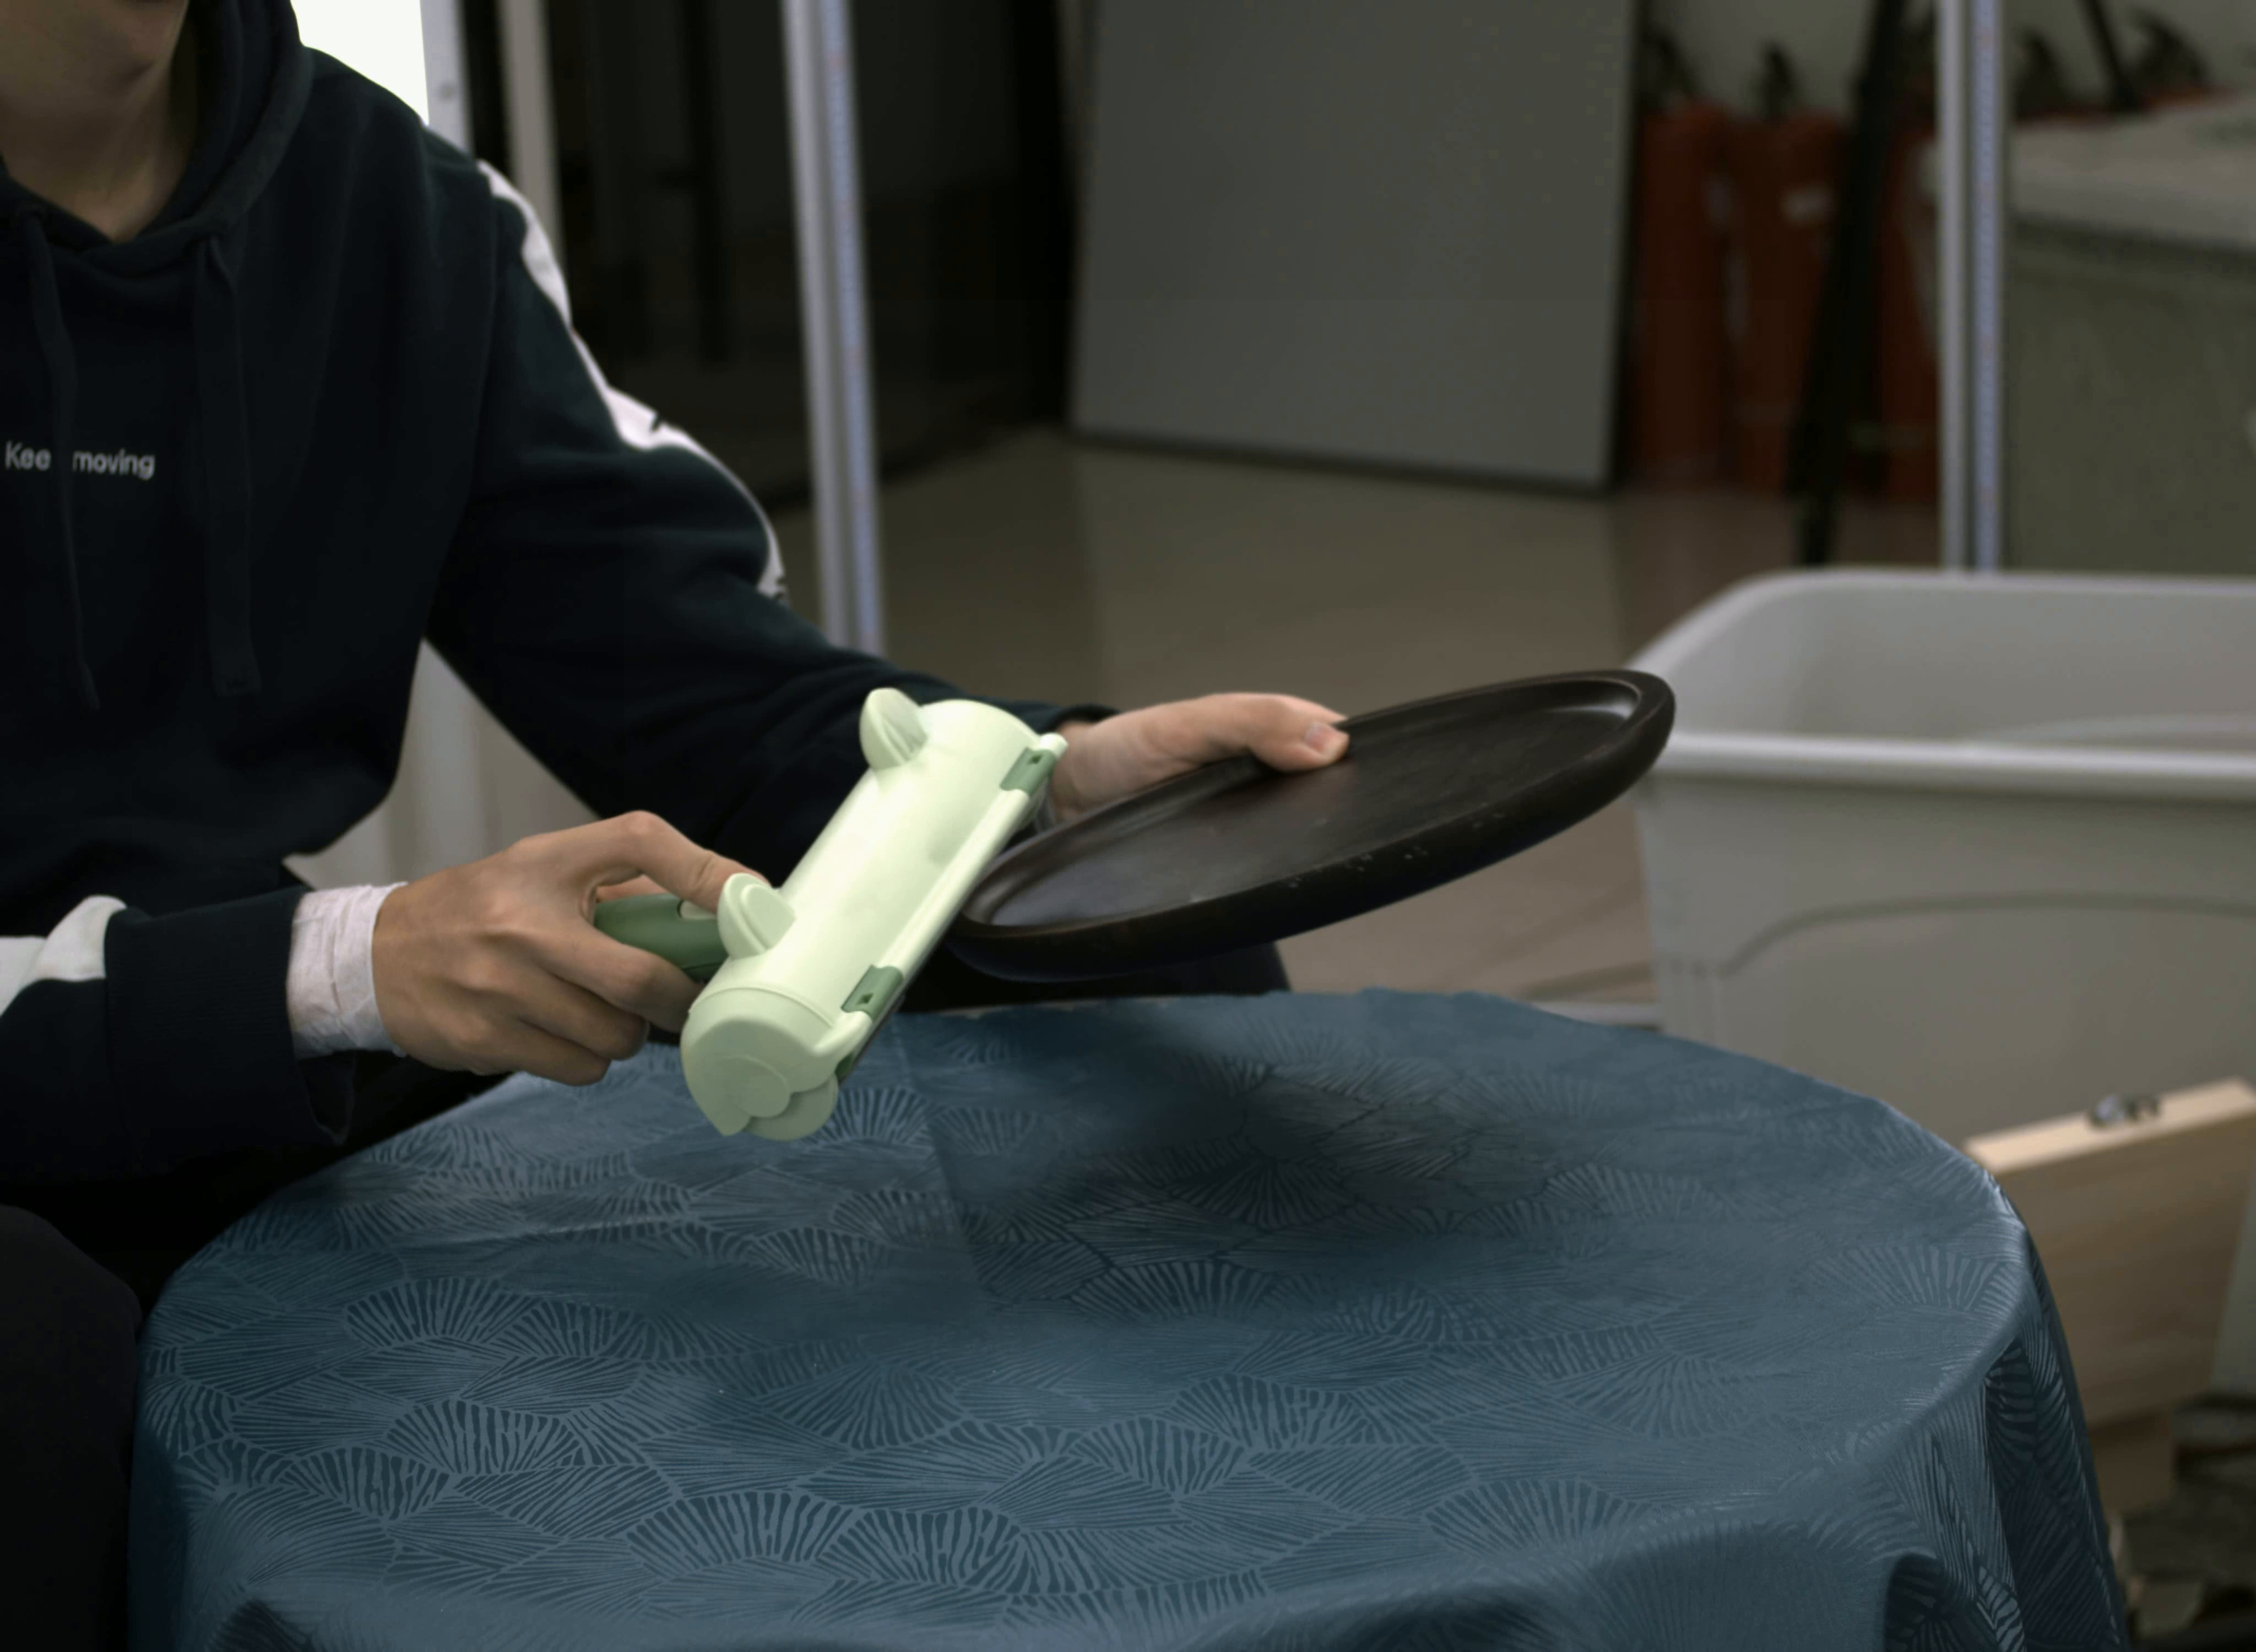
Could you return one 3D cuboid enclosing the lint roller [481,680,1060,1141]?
[{"bbox_3d":[-0.134,0.020,1.723,0.183,0.082,0.197,-1,30,24],"label":"lint roller"}]

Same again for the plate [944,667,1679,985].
[{"bbox_3d":[0.060,-0.001,1.751,0.252,0.029,0.255,-19,10,2],"label":"plate"}]
